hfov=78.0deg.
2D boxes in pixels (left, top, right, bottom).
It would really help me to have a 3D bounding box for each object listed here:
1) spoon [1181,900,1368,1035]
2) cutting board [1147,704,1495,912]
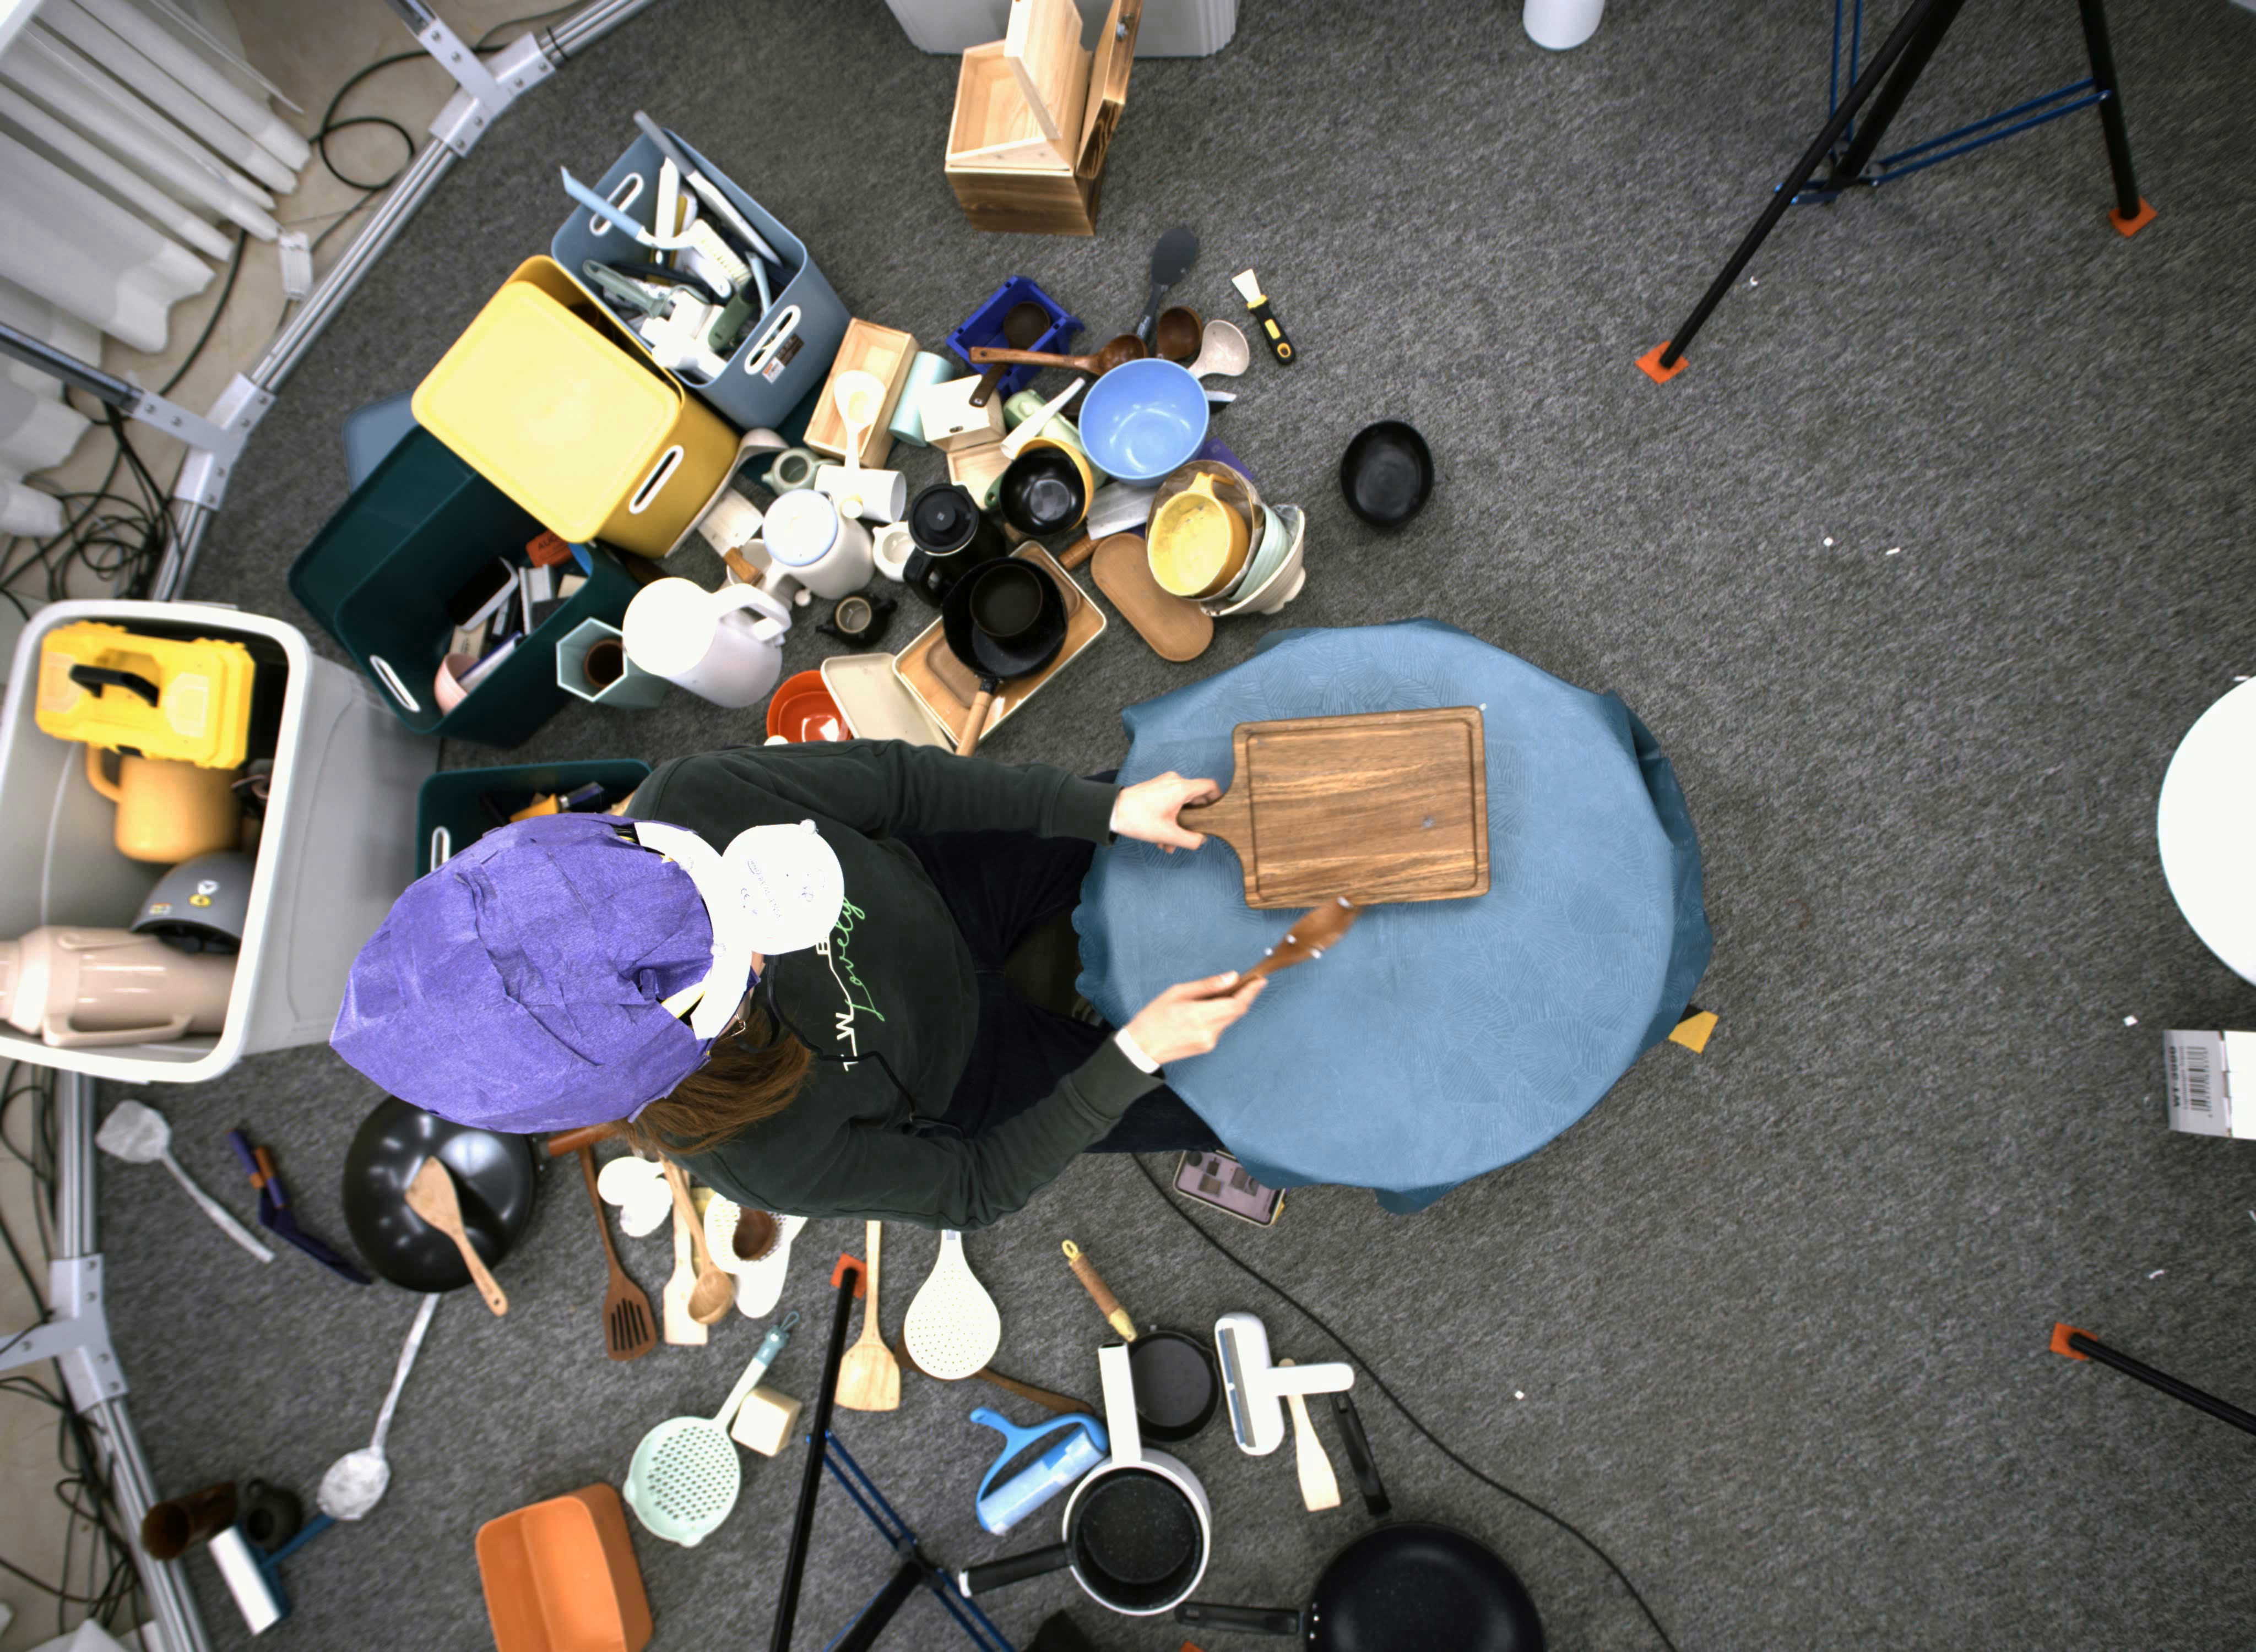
[{"bbox_3d":[0.140,0.138,1.329,0.218,0.074,0.017,-34,113,16],"label":"spoon"},{"bbox_3d":[0.194,-0.014,1.417,0.353,0.023,0.203,-4,104,9],"label":"cutting board"}]
